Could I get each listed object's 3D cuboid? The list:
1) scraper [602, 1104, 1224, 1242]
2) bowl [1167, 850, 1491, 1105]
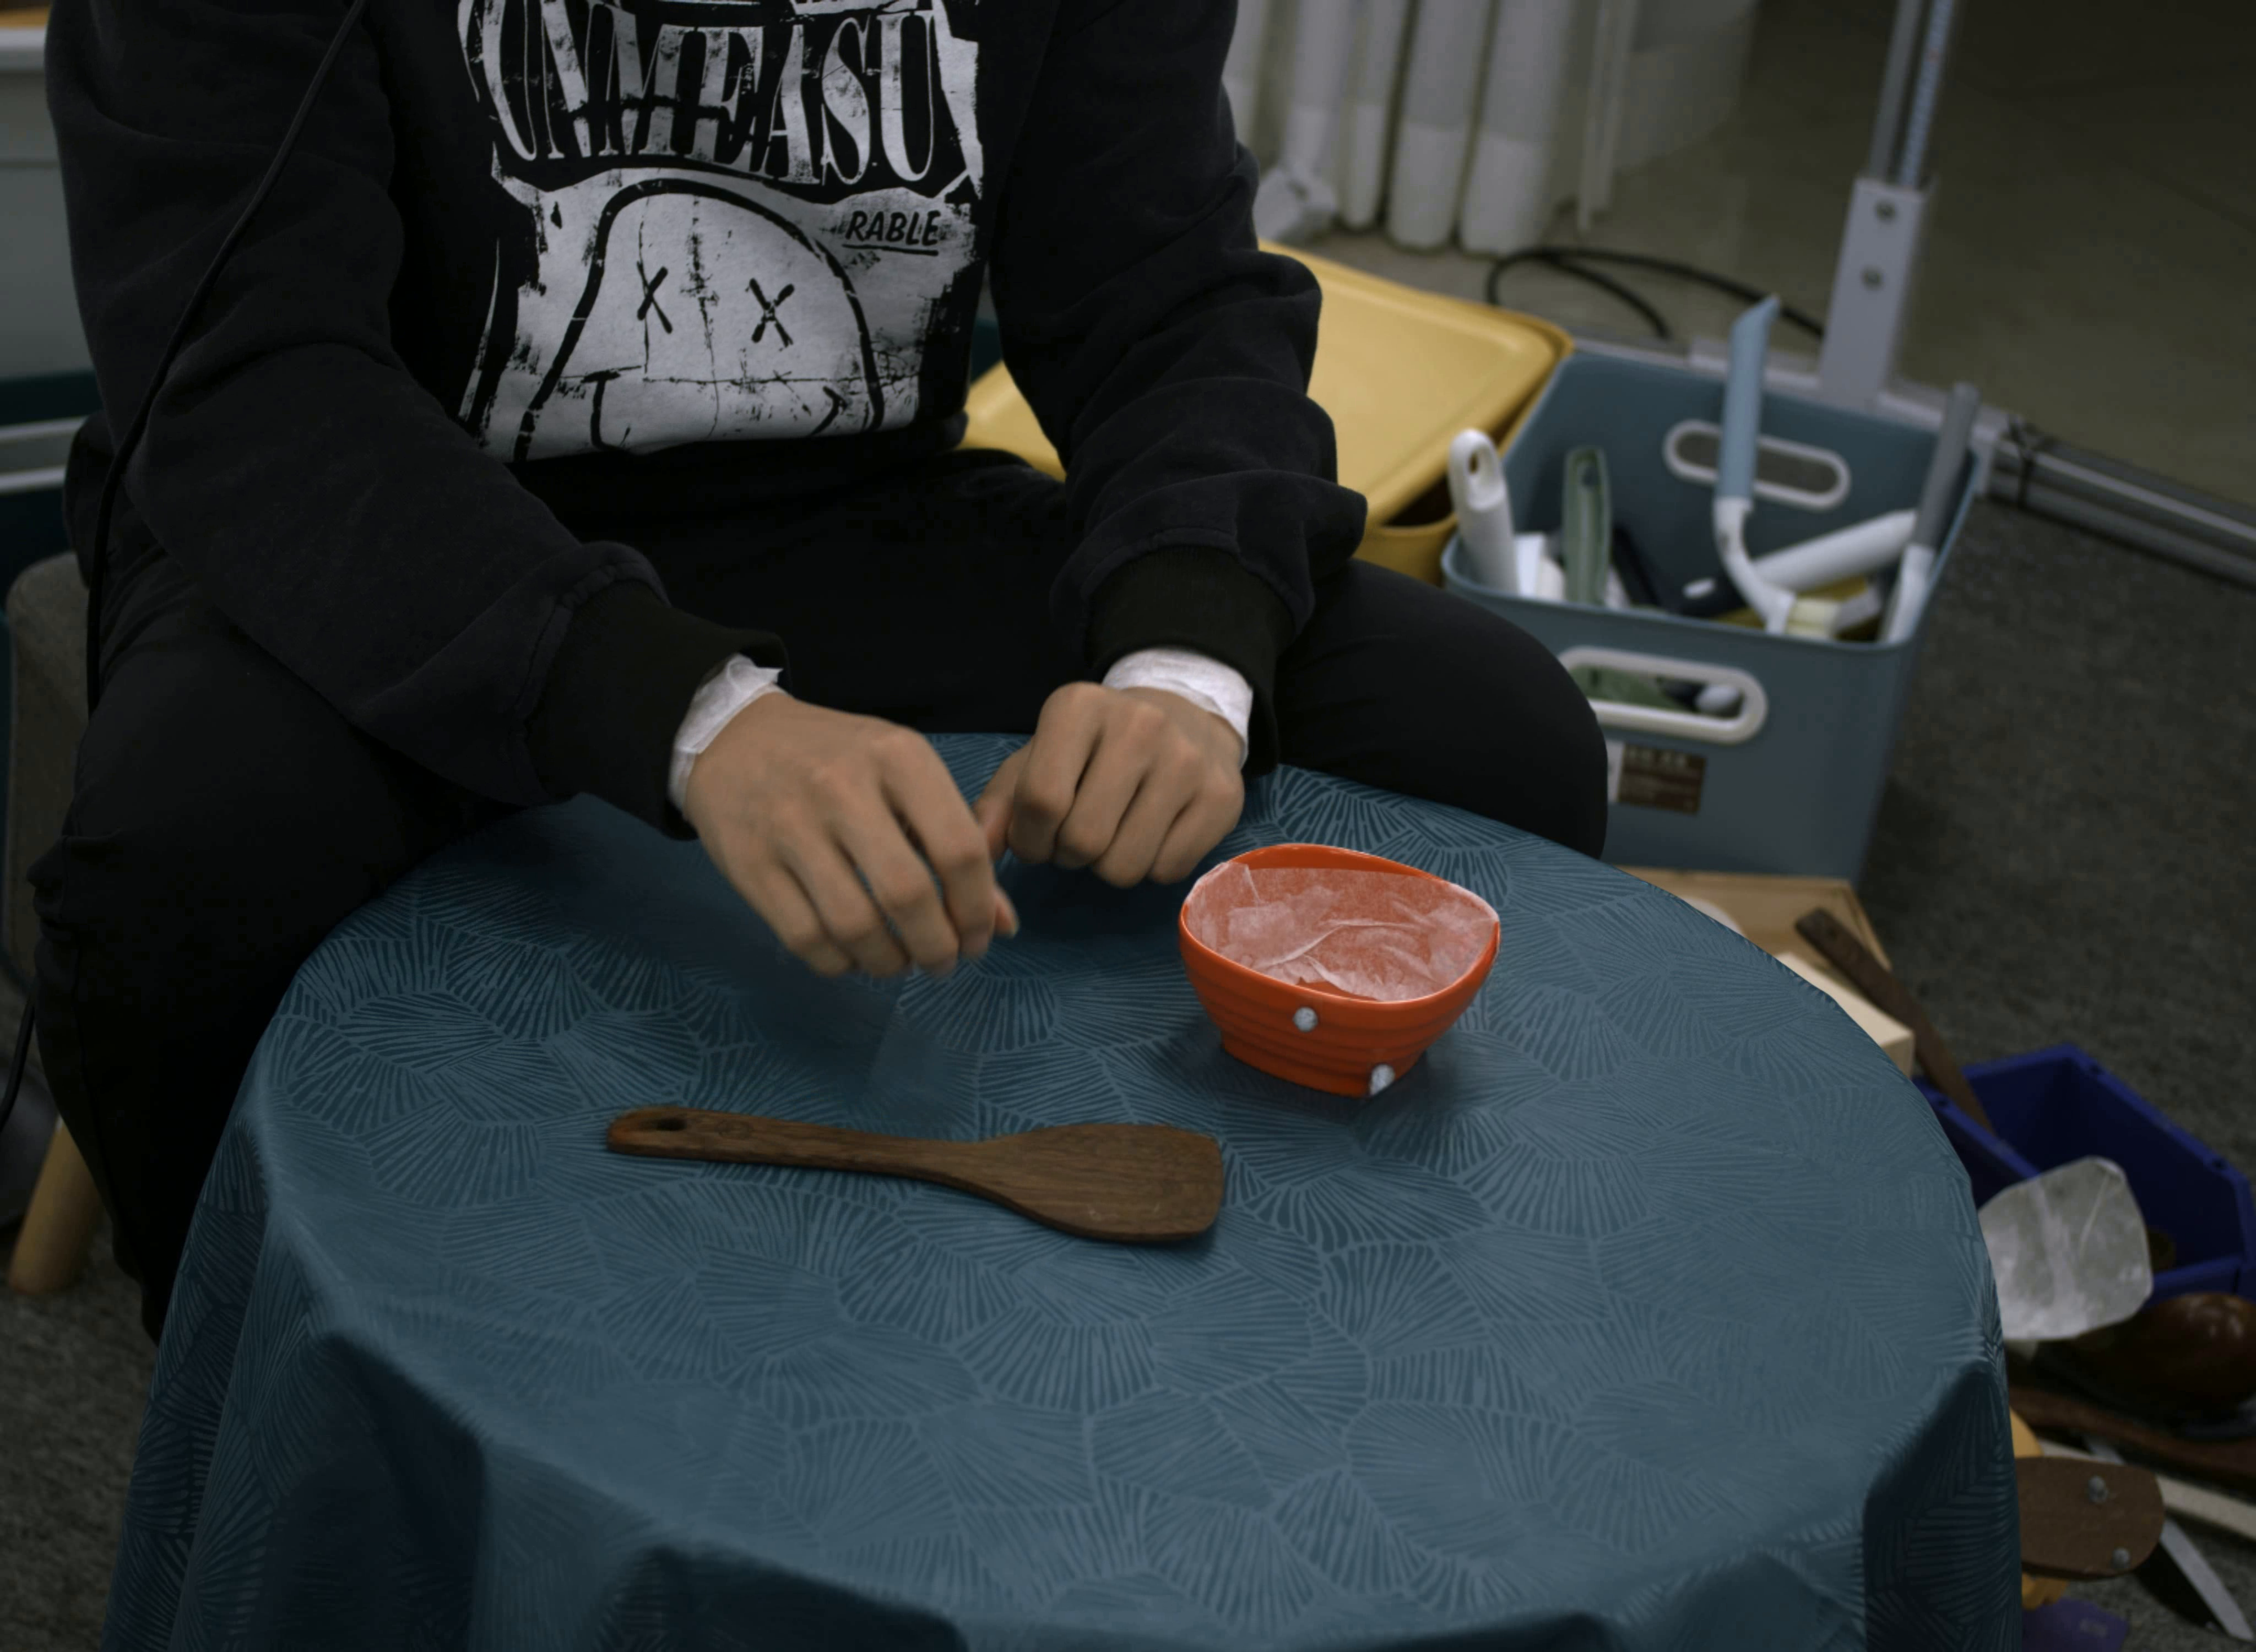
[{"bbox_3d":[-0.073,0.112,1.797,0.211,0.011,0.076,6,26,0],"label":"scraper"},{"bbox_3d":[0.071,0.058,1.898,0.118,0.051,0.119,2,29,-1],"label":"bowl"}]
